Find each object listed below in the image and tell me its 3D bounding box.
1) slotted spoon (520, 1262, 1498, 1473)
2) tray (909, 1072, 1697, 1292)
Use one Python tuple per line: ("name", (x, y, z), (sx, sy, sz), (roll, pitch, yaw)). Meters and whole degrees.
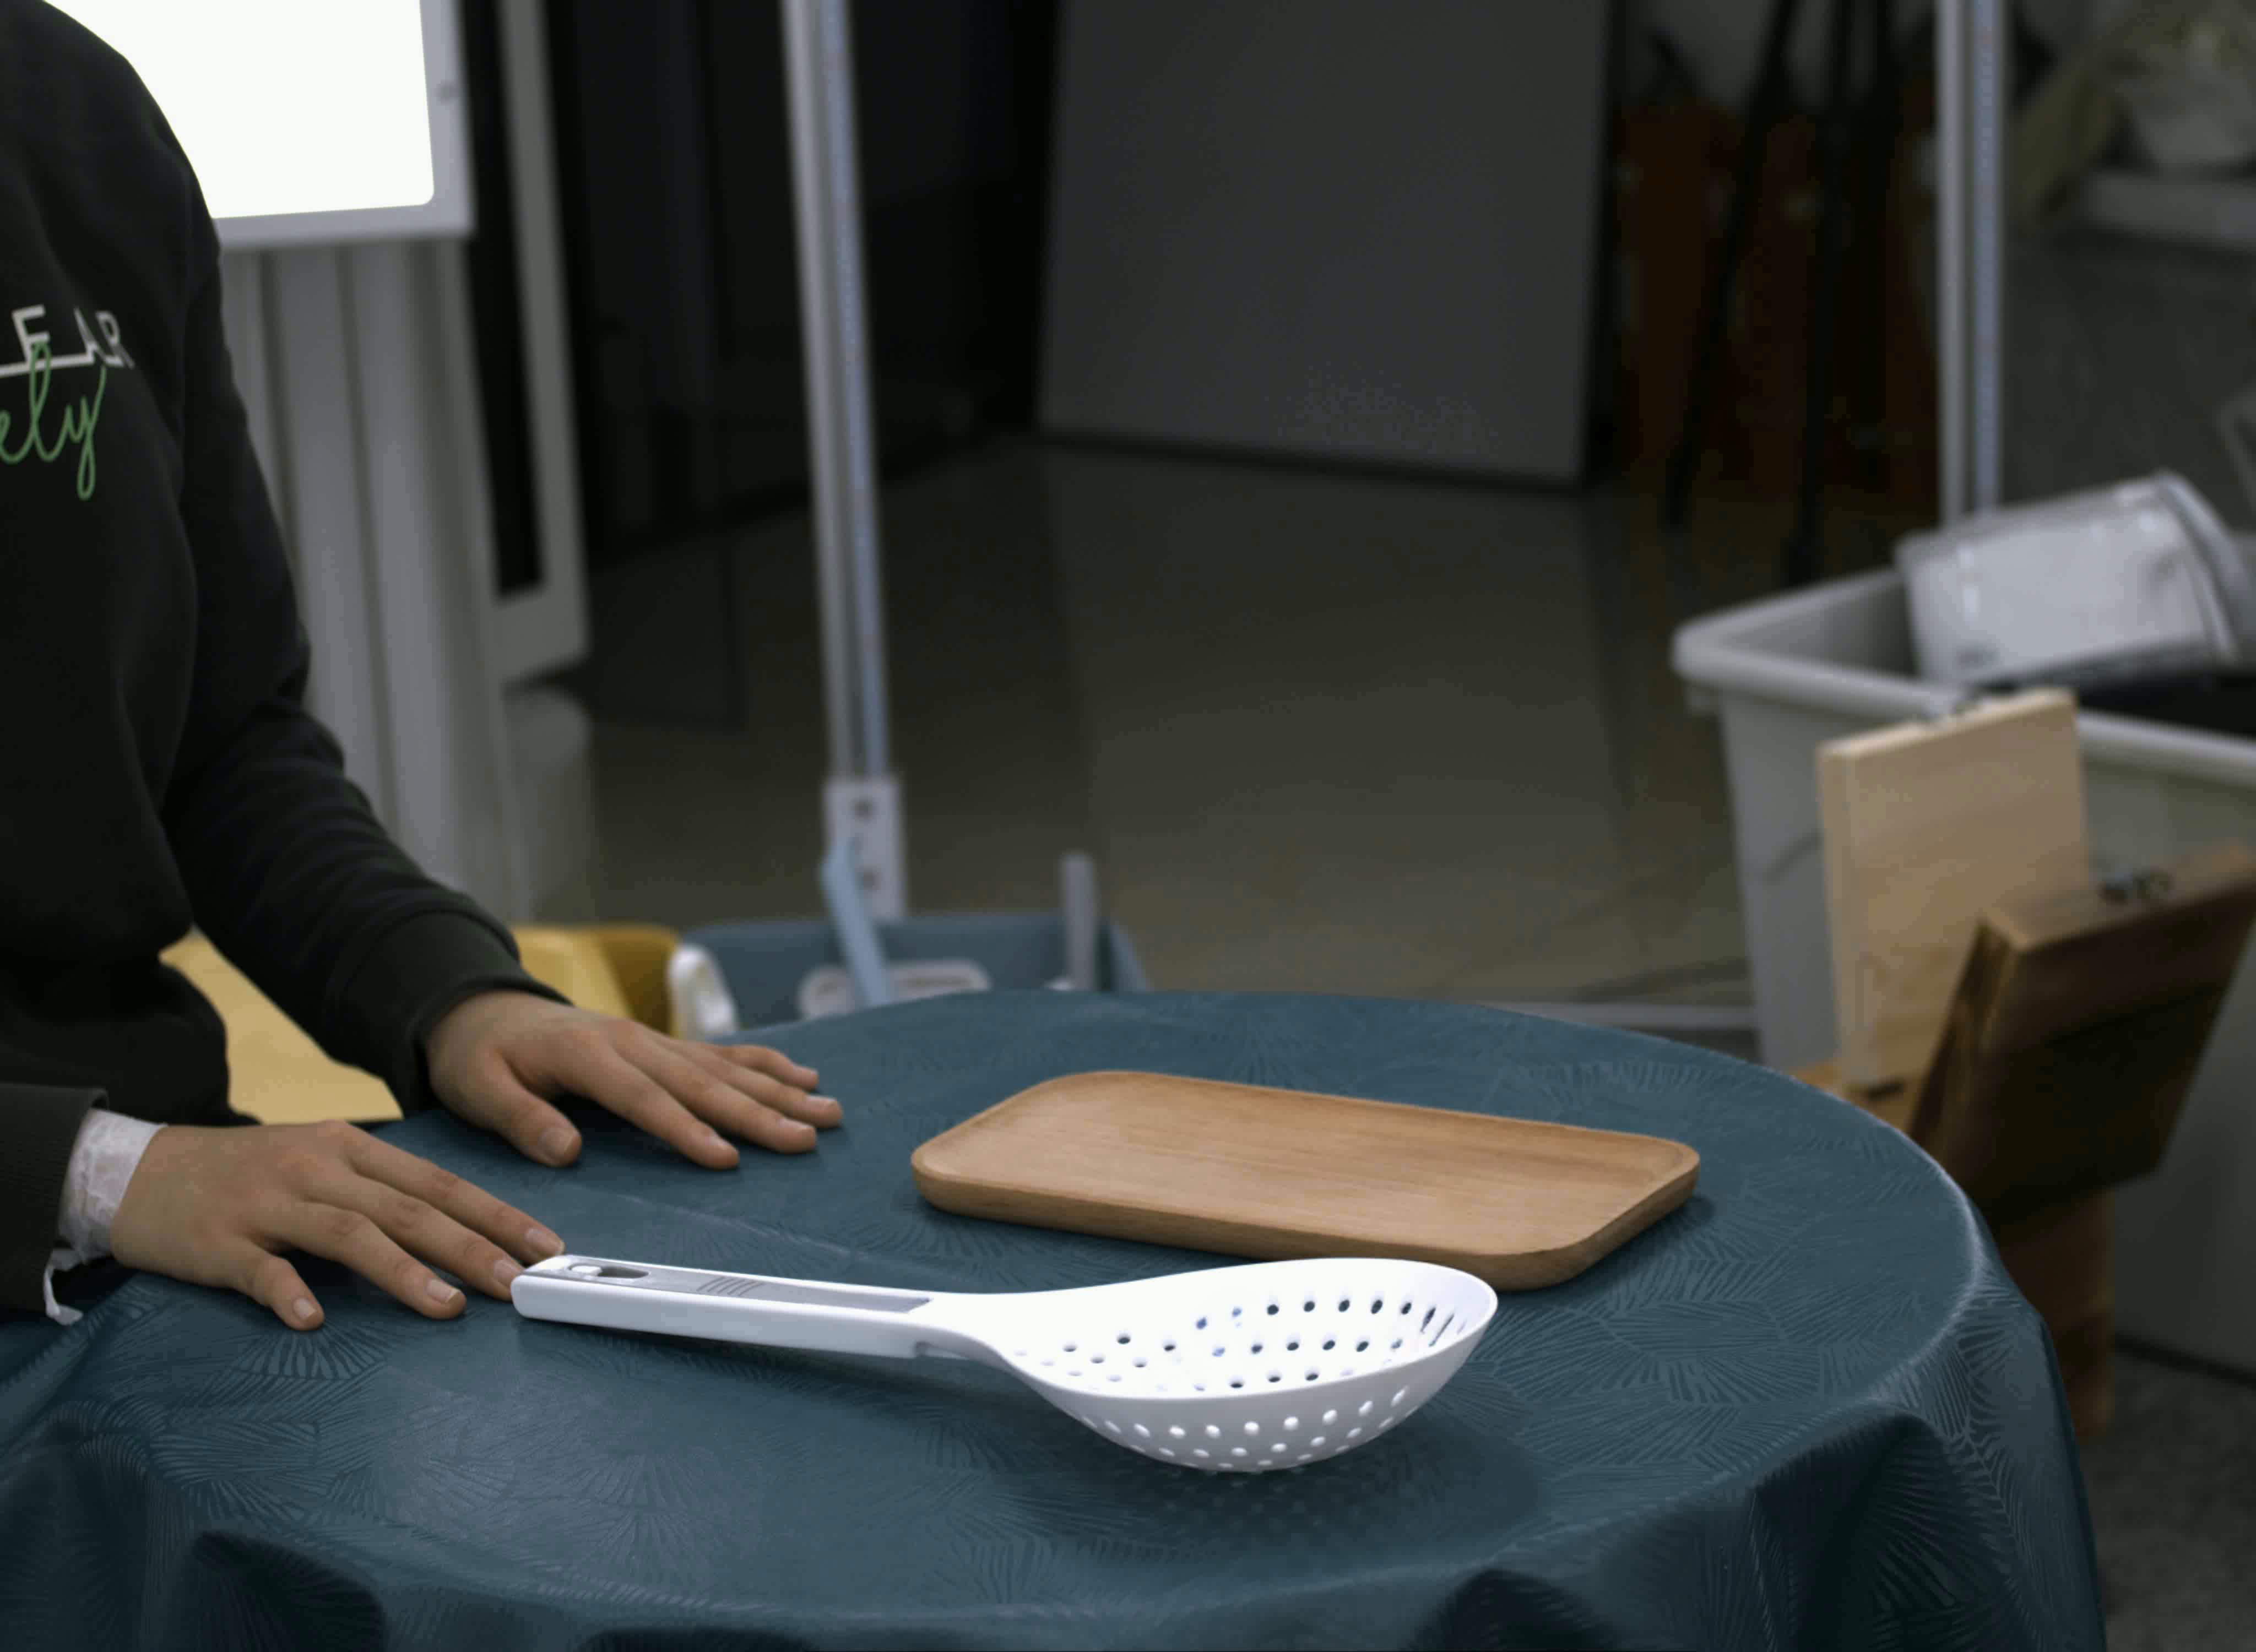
("slotted spoon", (-0.046, 0.147, 1.584), (0.352, 0.046, 0.133), (6, 15, 38))
("tray", (0.056, 0.114, 1.749), (0.252, 0.023, 0.128), (4, 14, 34))
